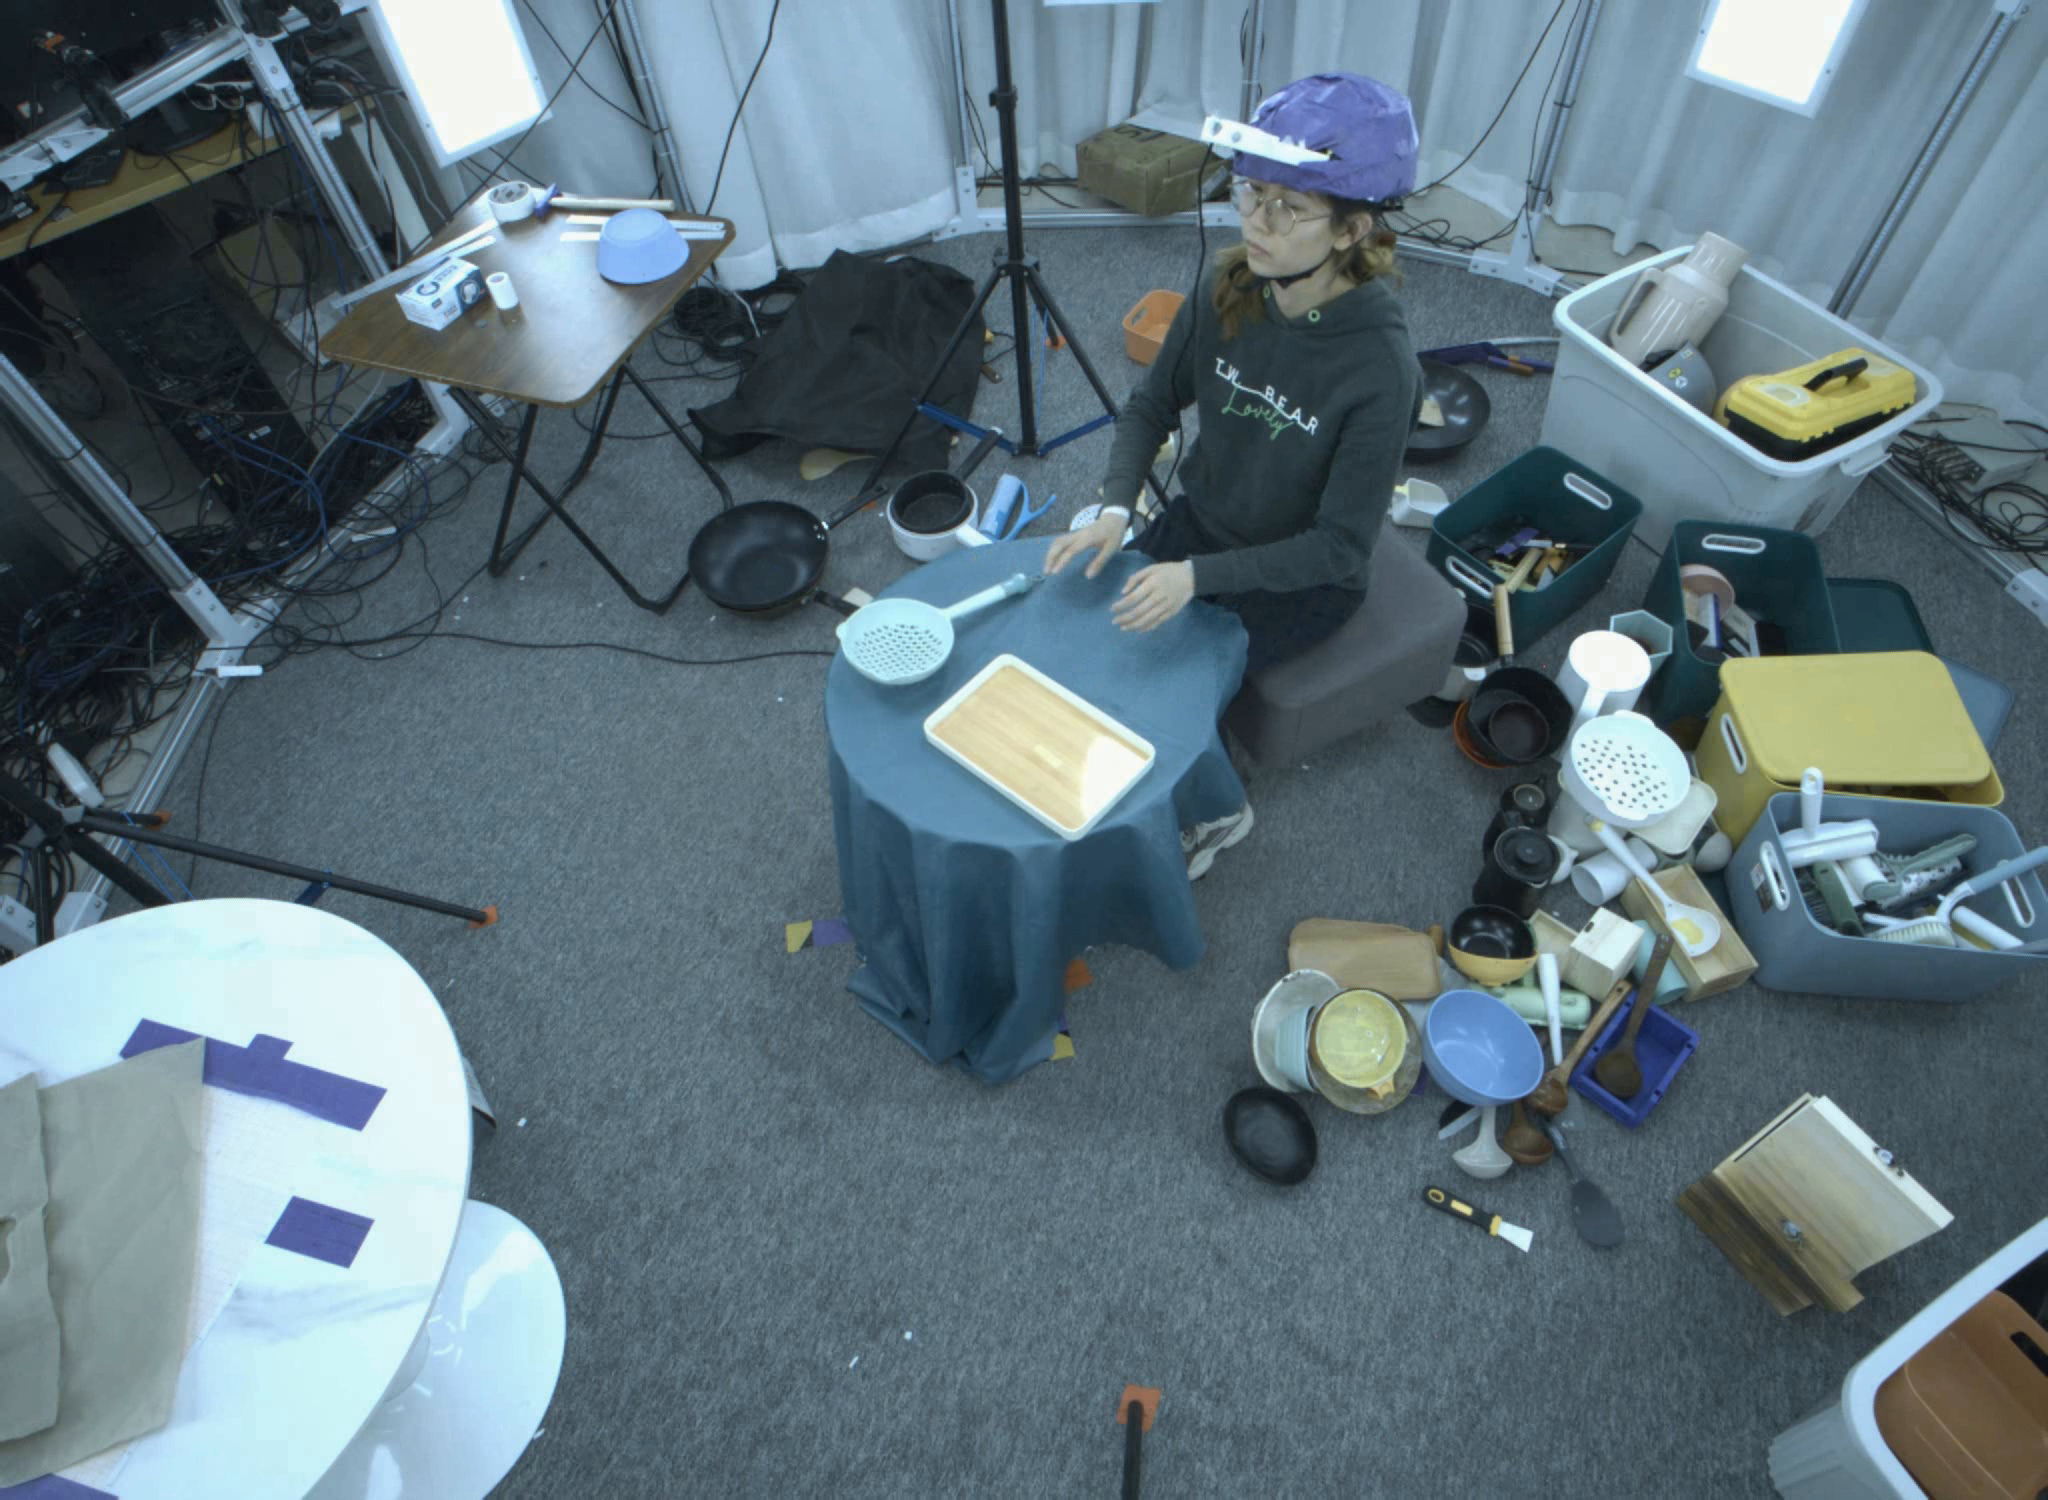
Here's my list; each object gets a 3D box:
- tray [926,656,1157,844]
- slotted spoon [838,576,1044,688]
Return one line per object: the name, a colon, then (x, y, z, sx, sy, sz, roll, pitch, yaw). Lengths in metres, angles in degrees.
tray: (0.024, -0.006, 1.785, 0.295, 0.028, 0.193, 35, 63, 23)
slotted spoon: (-0.114, -0.202, 1.903, 0.361, 0.076, 0.166, -34, 61, -20)
